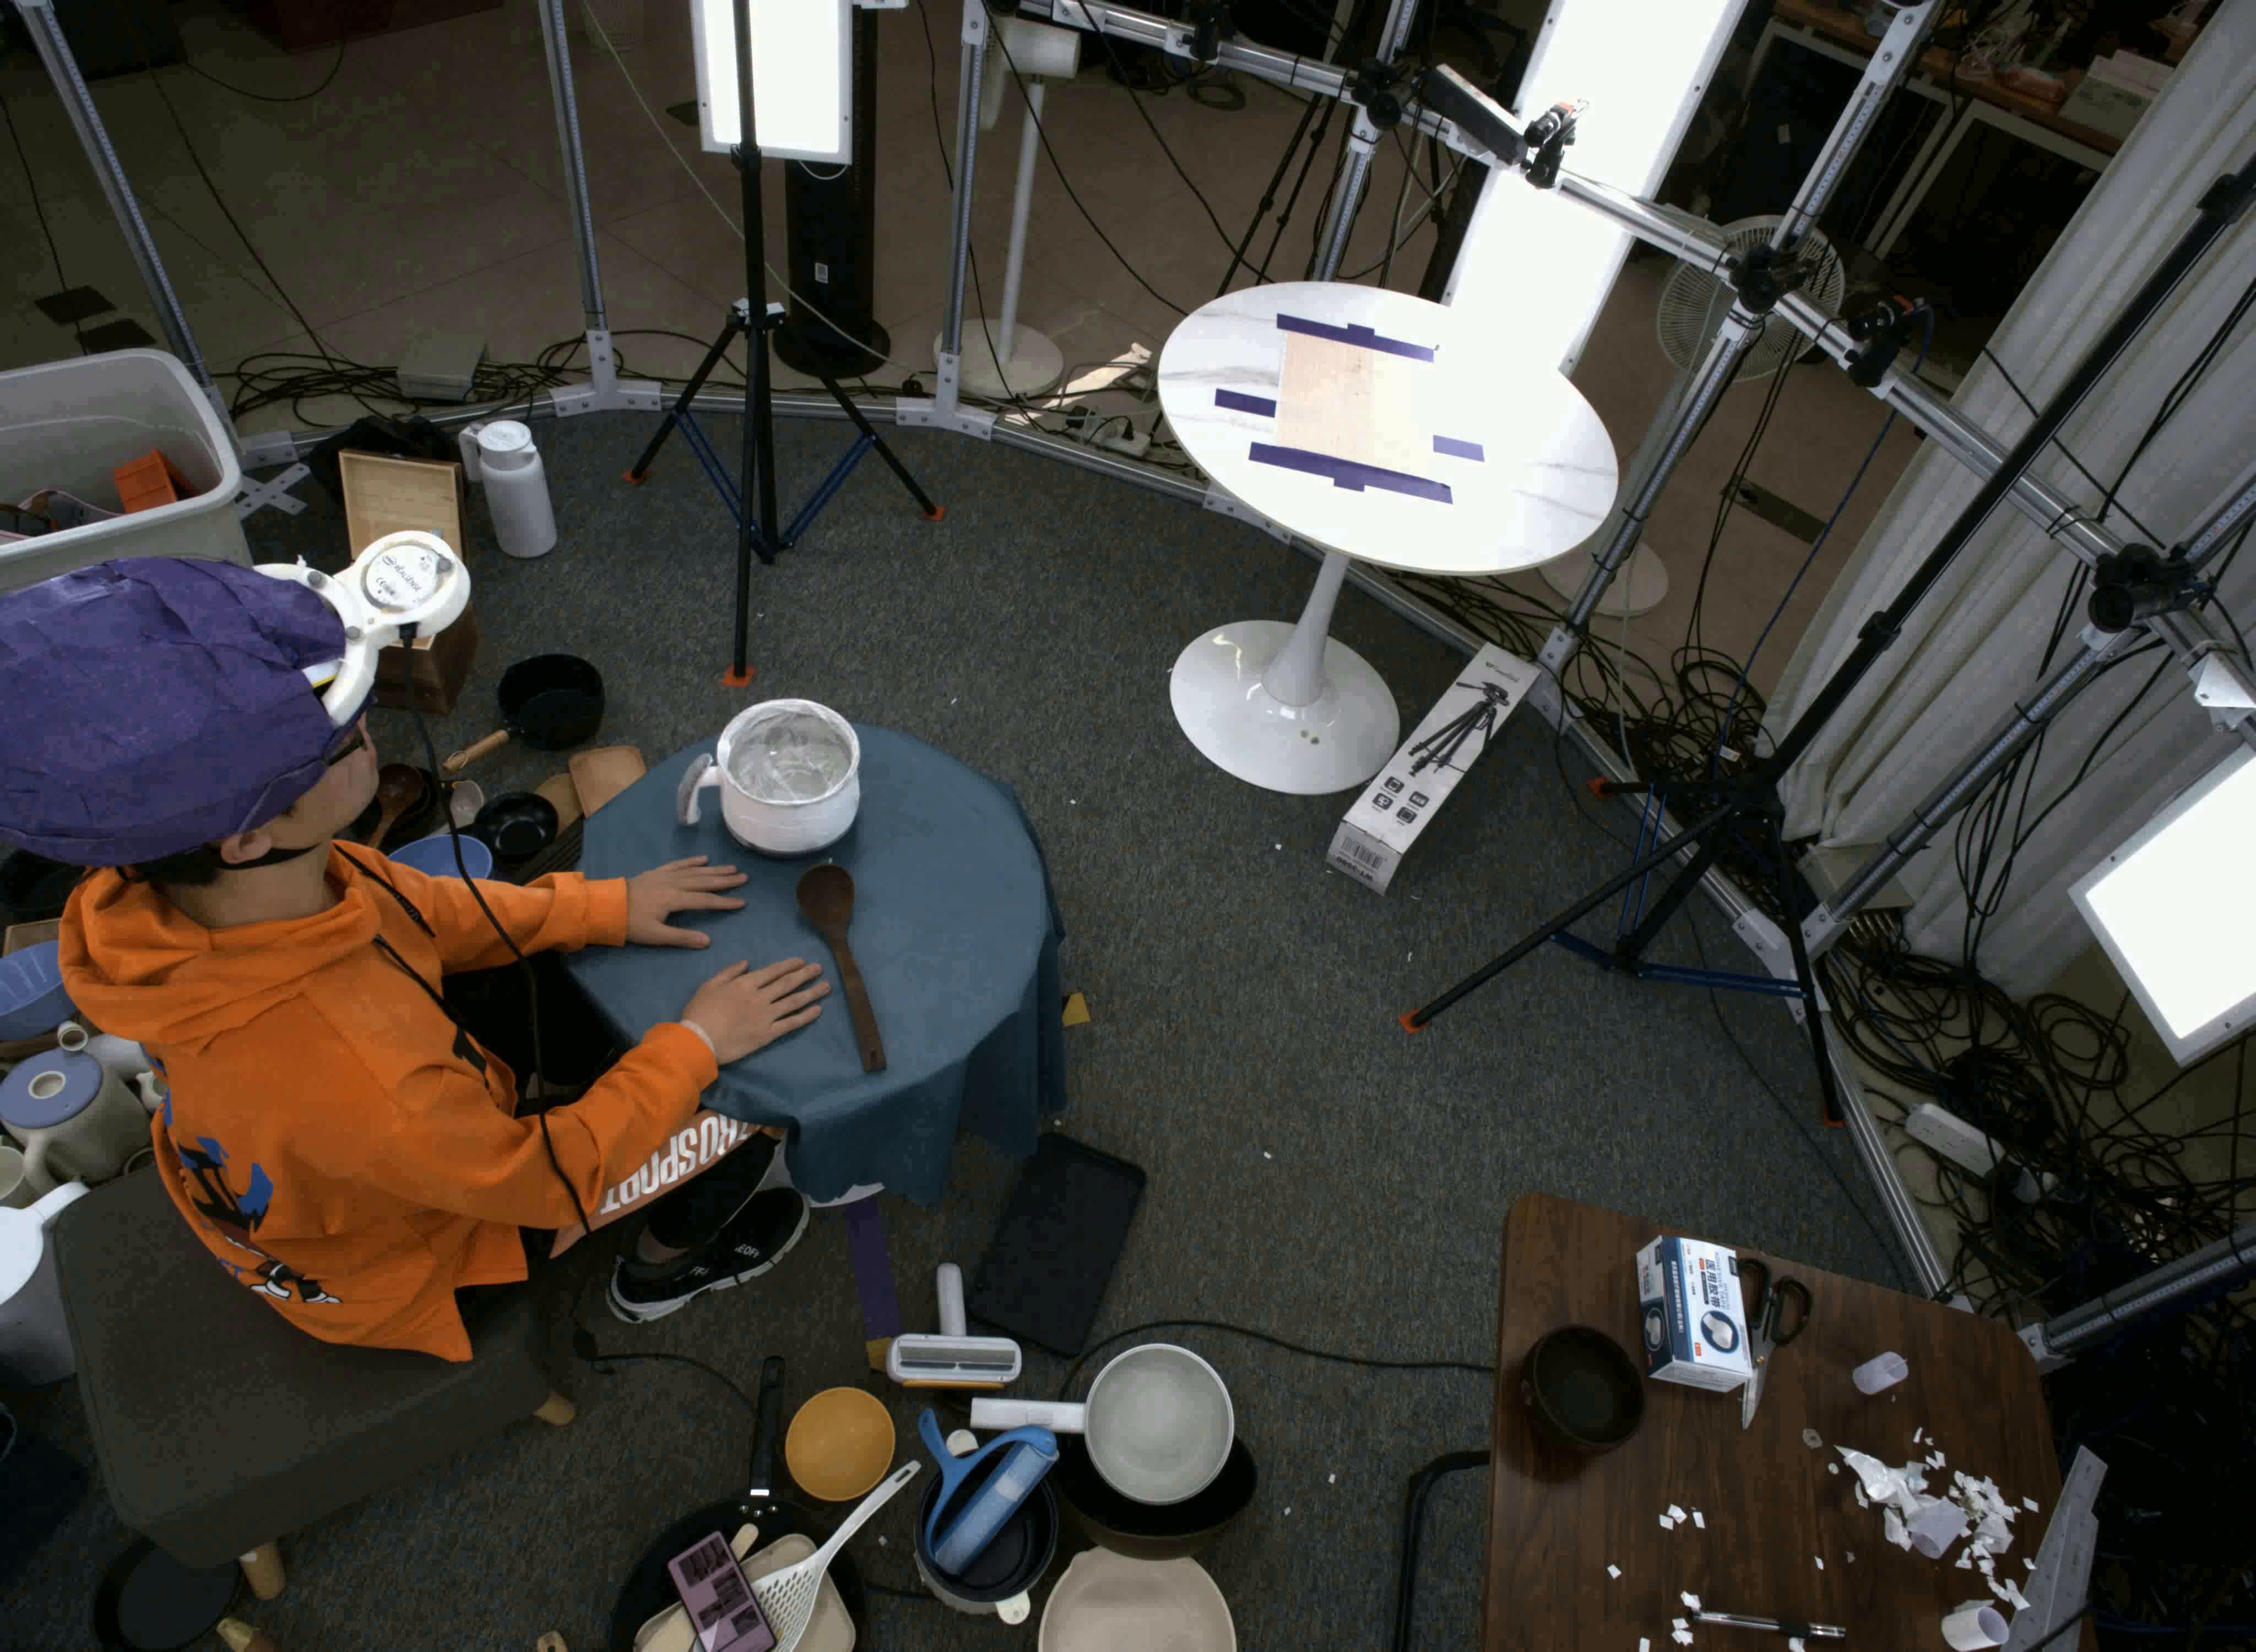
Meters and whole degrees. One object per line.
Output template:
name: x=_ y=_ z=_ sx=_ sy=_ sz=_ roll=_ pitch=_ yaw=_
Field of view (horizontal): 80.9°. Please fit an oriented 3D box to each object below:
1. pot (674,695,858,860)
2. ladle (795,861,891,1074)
pot: x=-0.464 y=-0.055 z=1.656 sx=0.235 sy=0.139 sz=0.174 roll=-9 pitch=55 yaw=-20
ladle: x=-0.338 y=0.163 z=1.570 sx=0.076 sy=0.073 sz=0.267 roll=-14 pitch=58 yaw=-19
